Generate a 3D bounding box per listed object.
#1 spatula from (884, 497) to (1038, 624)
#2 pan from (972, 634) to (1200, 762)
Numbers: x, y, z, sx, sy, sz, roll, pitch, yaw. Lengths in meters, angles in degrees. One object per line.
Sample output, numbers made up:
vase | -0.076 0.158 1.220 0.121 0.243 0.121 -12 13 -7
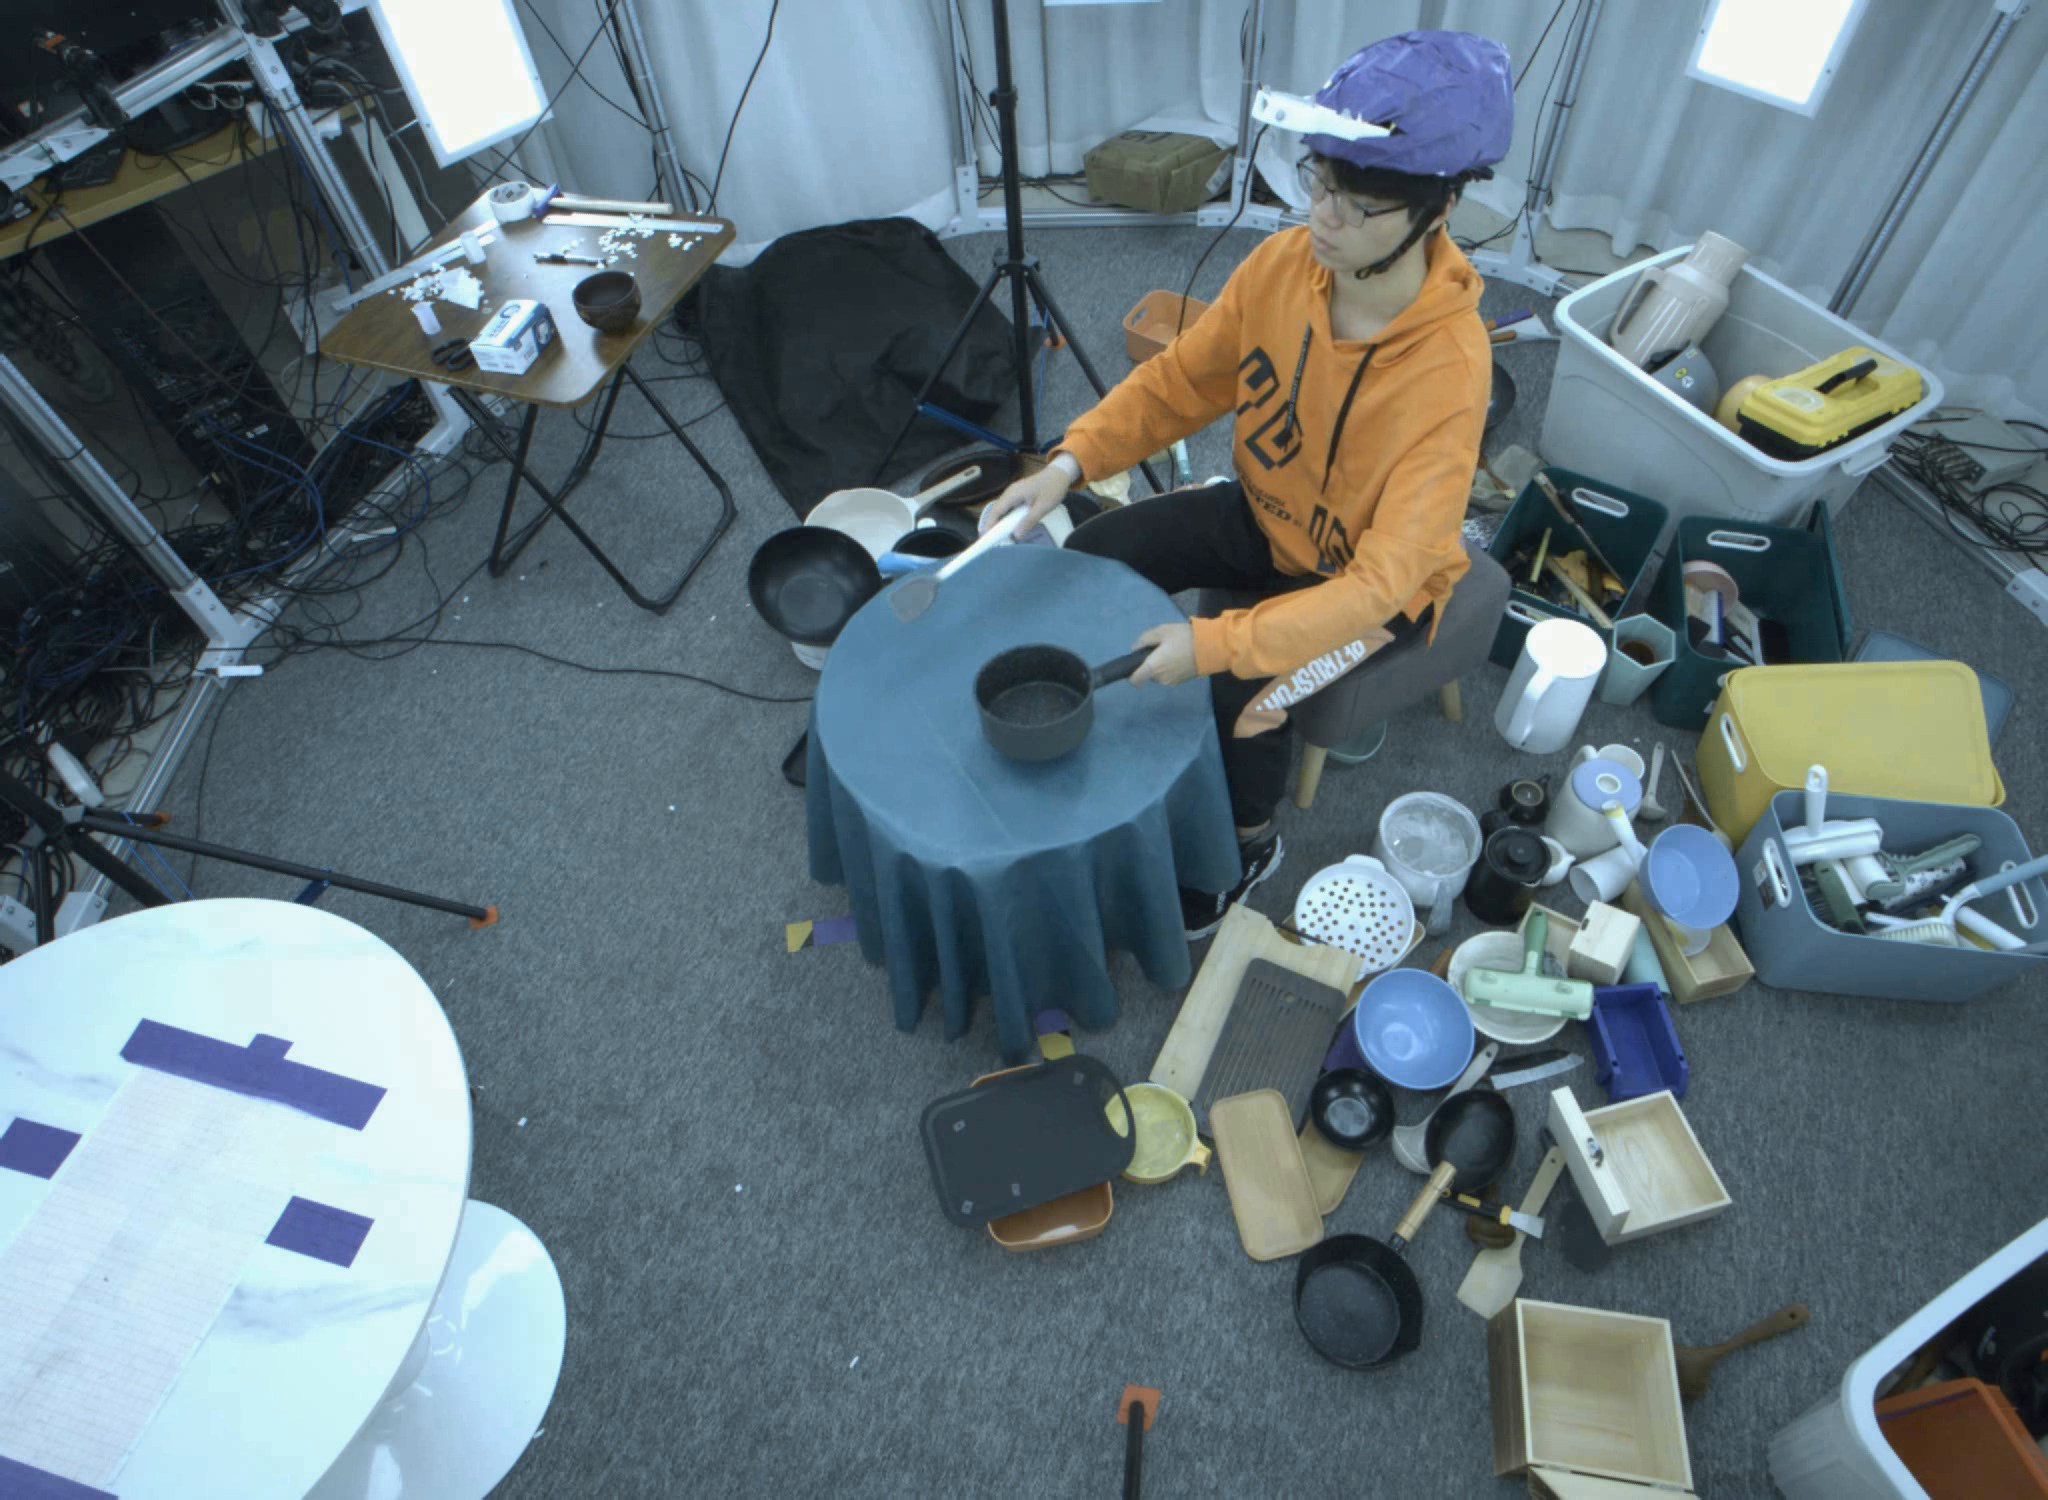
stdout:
spatula | -0.093 -0.290 1.847 0.289 0.059 0.031 -41 21 -19
pan | 0.093 -0.088 1.753 0.330 0.087 0.169 -15 49 -7
